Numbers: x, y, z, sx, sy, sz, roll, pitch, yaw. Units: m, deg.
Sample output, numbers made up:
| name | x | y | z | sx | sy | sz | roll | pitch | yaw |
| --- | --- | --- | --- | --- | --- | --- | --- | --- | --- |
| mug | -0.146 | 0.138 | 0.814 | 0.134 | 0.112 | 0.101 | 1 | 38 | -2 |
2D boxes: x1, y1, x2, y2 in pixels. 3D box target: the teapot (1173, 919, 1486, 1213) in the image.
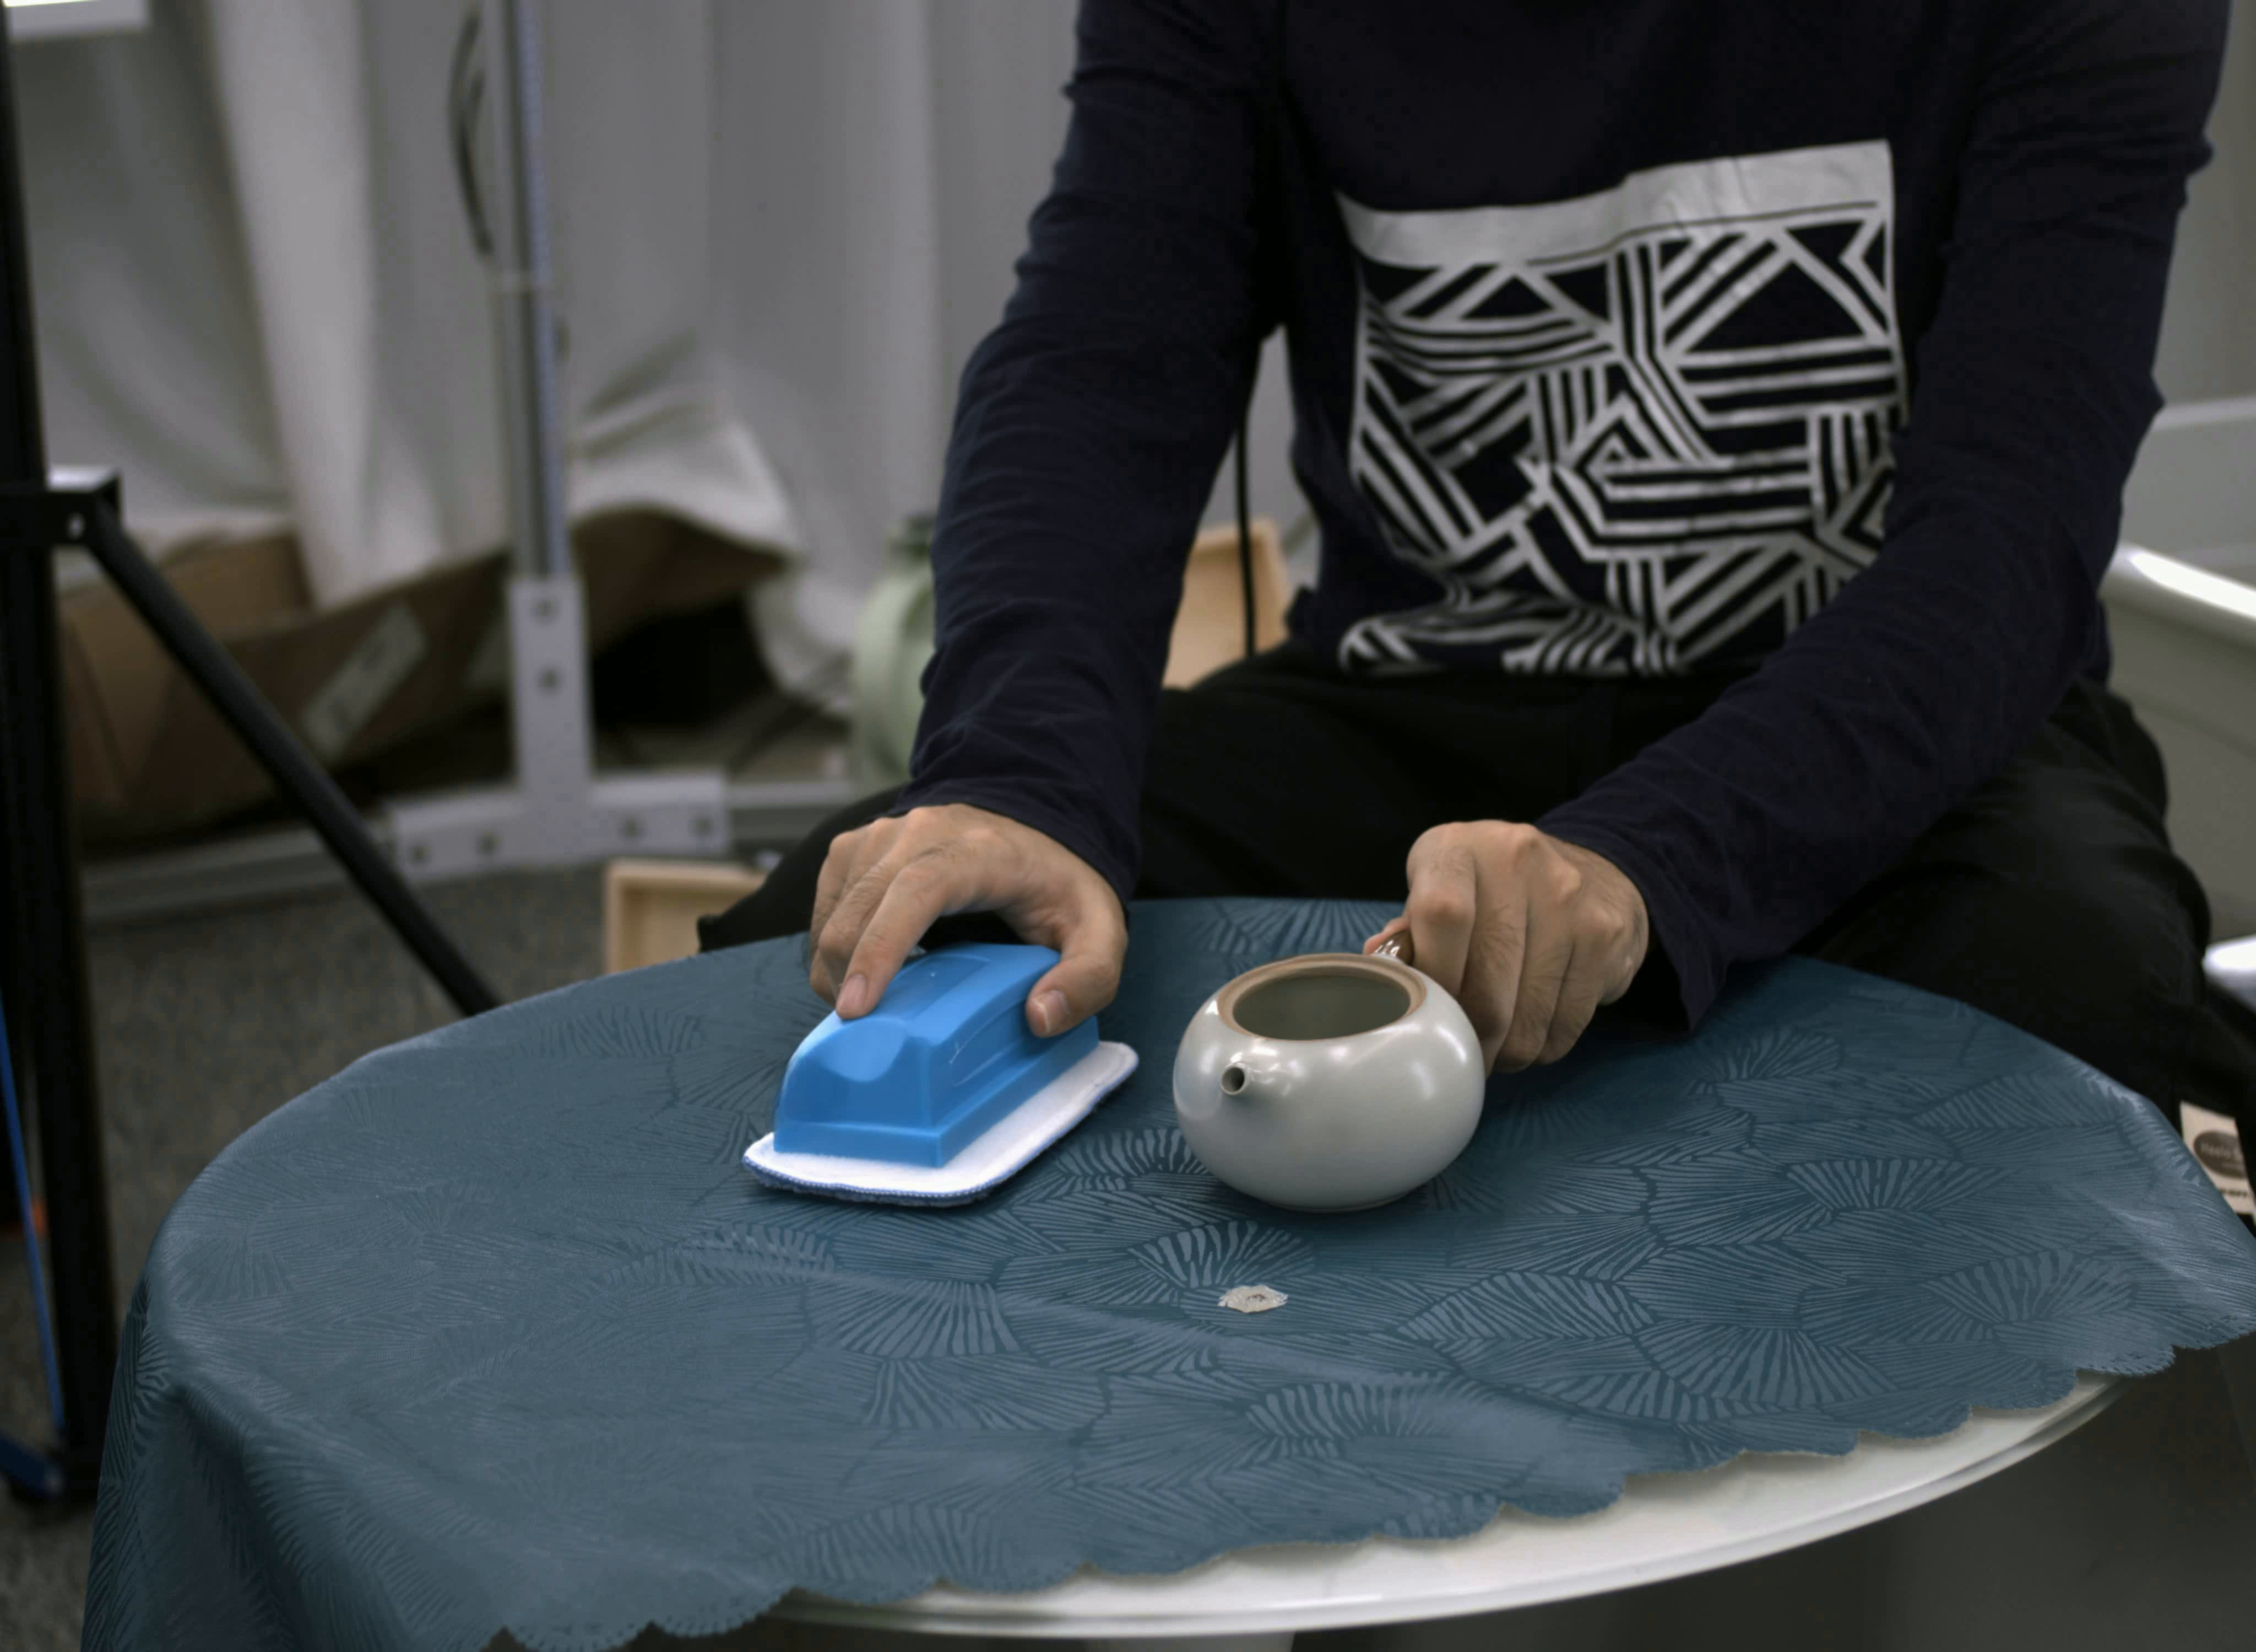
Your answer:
| name | x | y | z | sx | sy | sz | roll | pitch | yaw |
| --- | --- | --- | --- | --- | --- | --- | --- | --- | --- |
| teapot | 0.064 | 0.071 | 1.556 | 0.093 | 0.059 | 0.126 | 5 | 27 | 30 |

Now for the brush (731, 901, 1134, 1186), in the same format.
| name | x | y | z | sx | sy | sz | roll | pitch | yaw |
| --- | --- | --- | --- | --- | --- | --- | --- | --- | --- |
| brush | -0.058 | 0.062 | 1.620 | 0.085 | 0.056 | 0.142 | 8 | 21 | 24 |
